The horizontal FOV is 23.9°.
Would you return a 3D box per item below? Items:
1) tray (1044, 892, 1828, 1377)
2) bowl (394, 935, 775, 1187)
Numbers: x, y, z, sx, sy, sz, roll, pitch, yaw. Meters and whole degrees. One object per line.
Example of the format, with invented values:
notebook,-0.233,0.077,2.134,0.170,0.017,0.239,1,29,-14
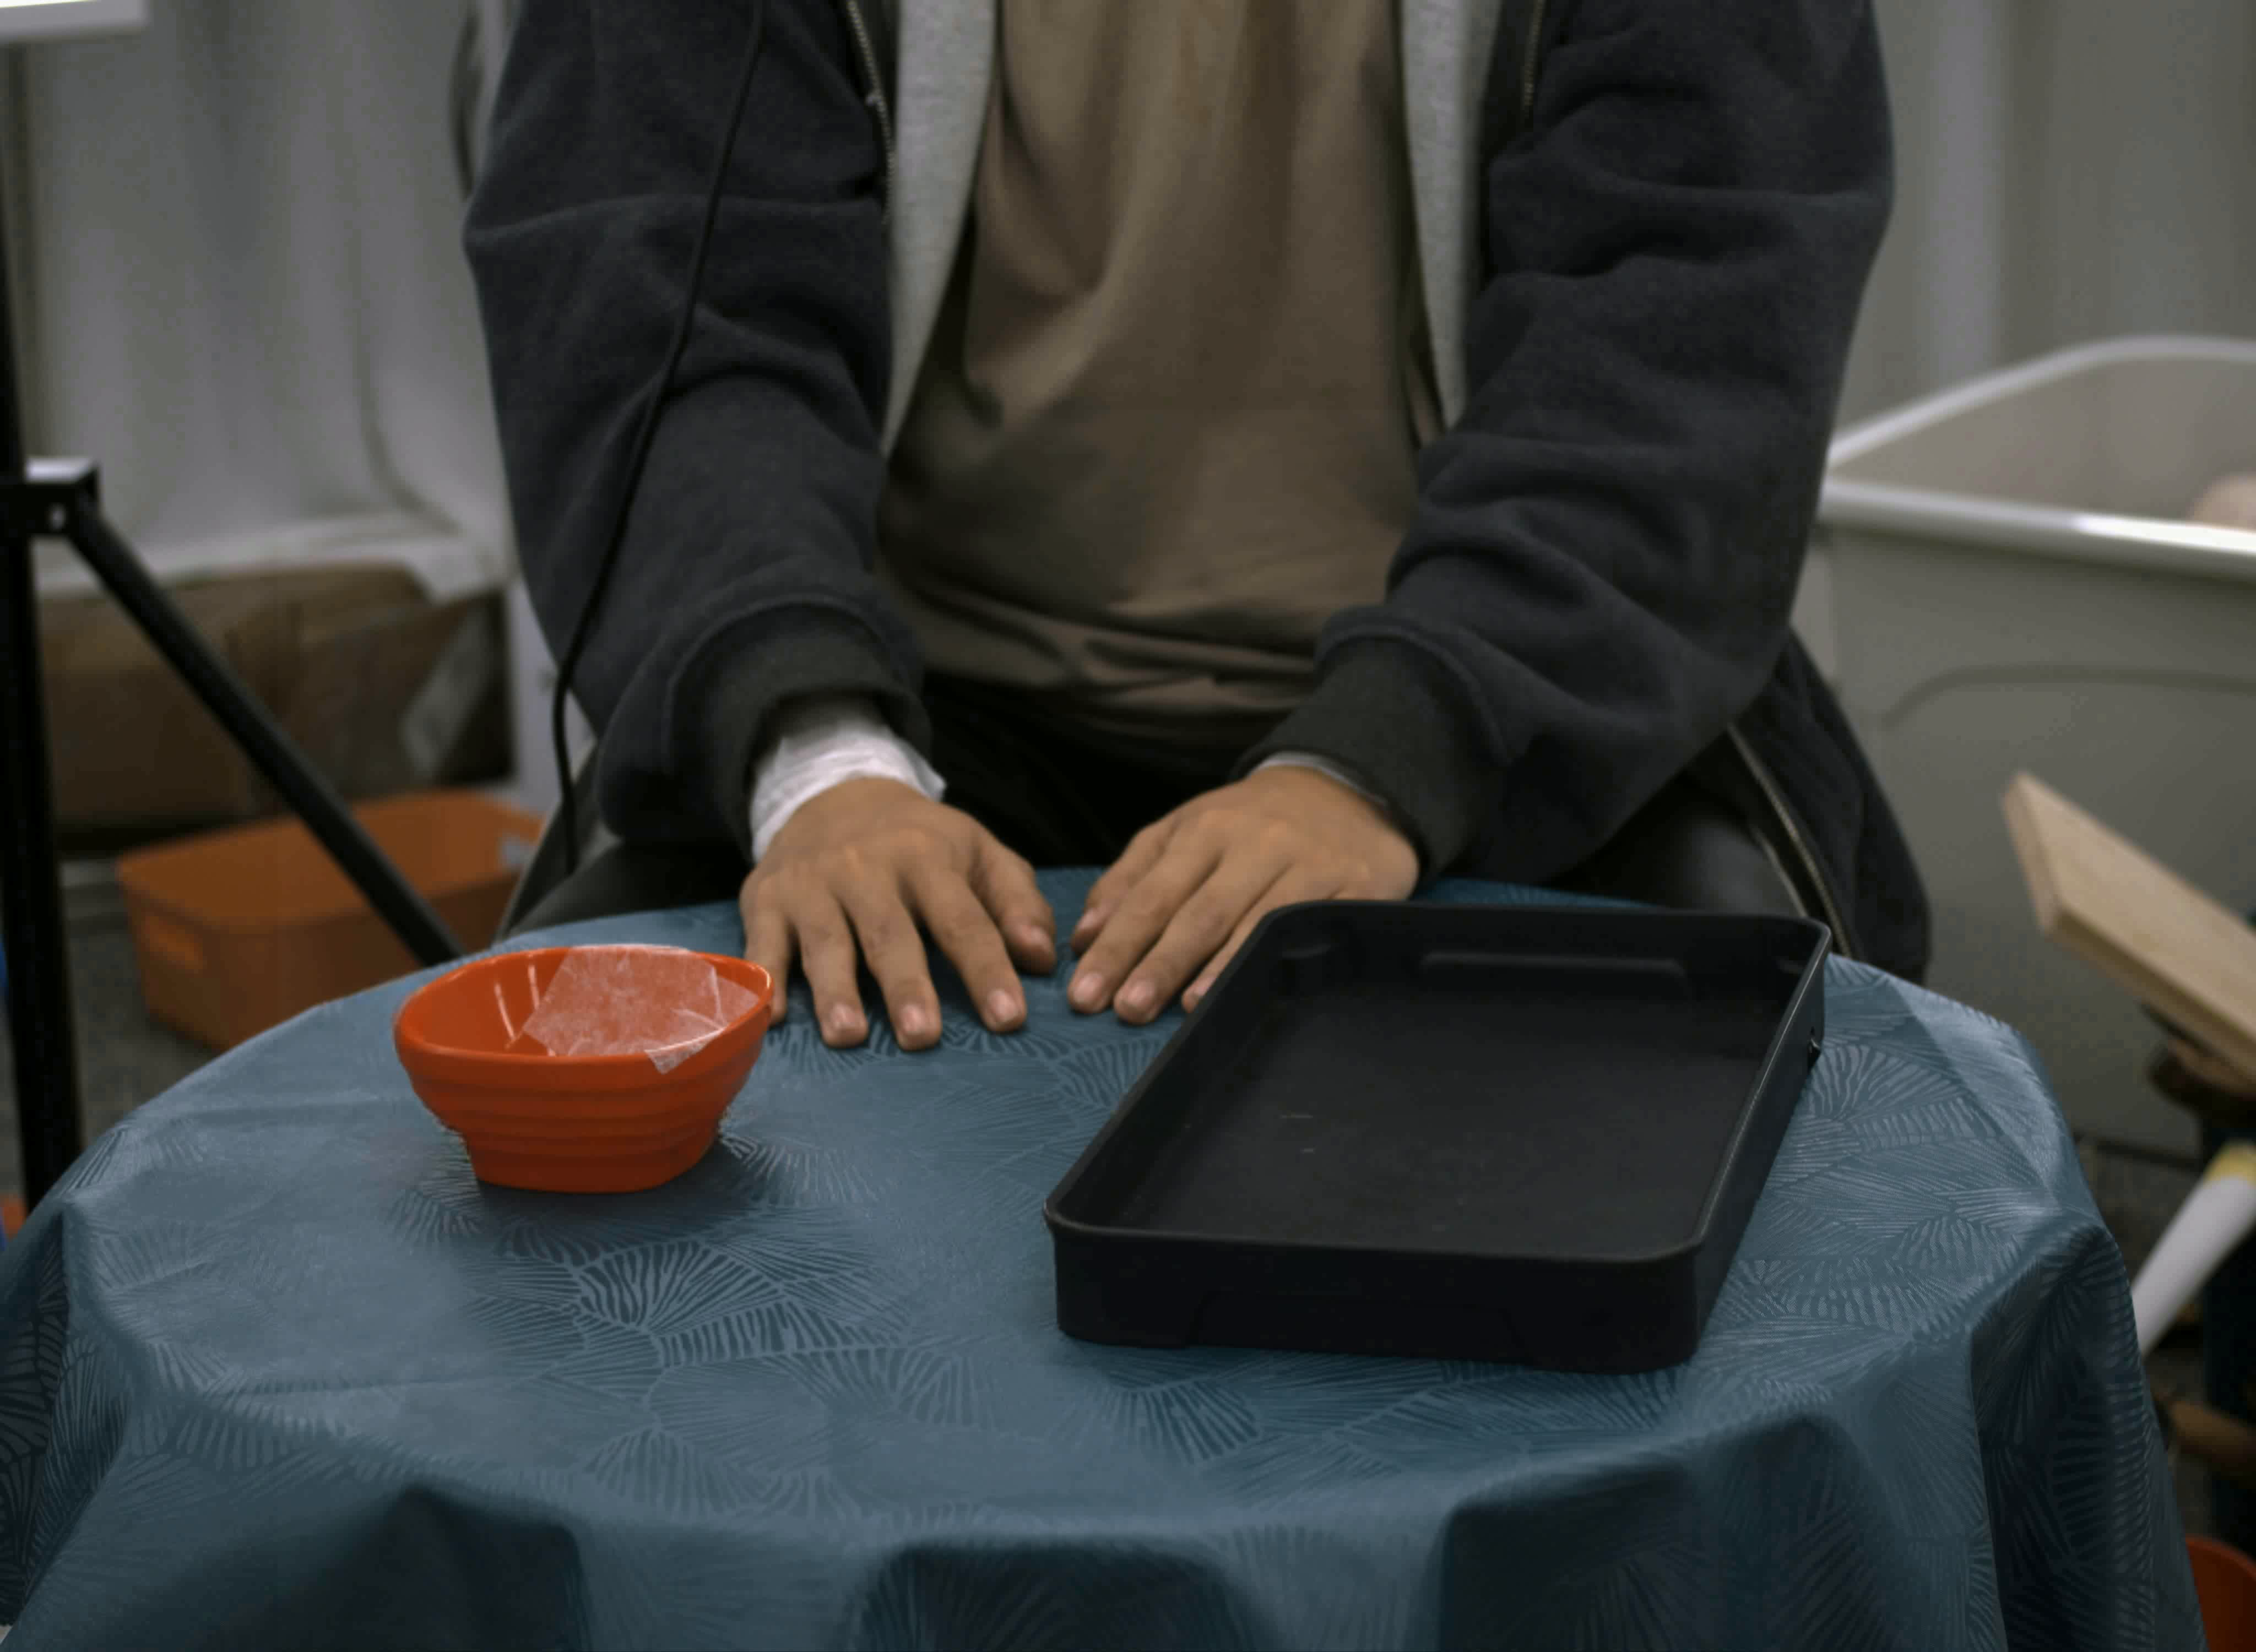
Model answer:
tray,0.099,0.084,1.561,0.186,0.037,0.315,1,17,15
bowl,-0.161,0.073,1.609,0.118,0.051,0.119,-4,17,0
